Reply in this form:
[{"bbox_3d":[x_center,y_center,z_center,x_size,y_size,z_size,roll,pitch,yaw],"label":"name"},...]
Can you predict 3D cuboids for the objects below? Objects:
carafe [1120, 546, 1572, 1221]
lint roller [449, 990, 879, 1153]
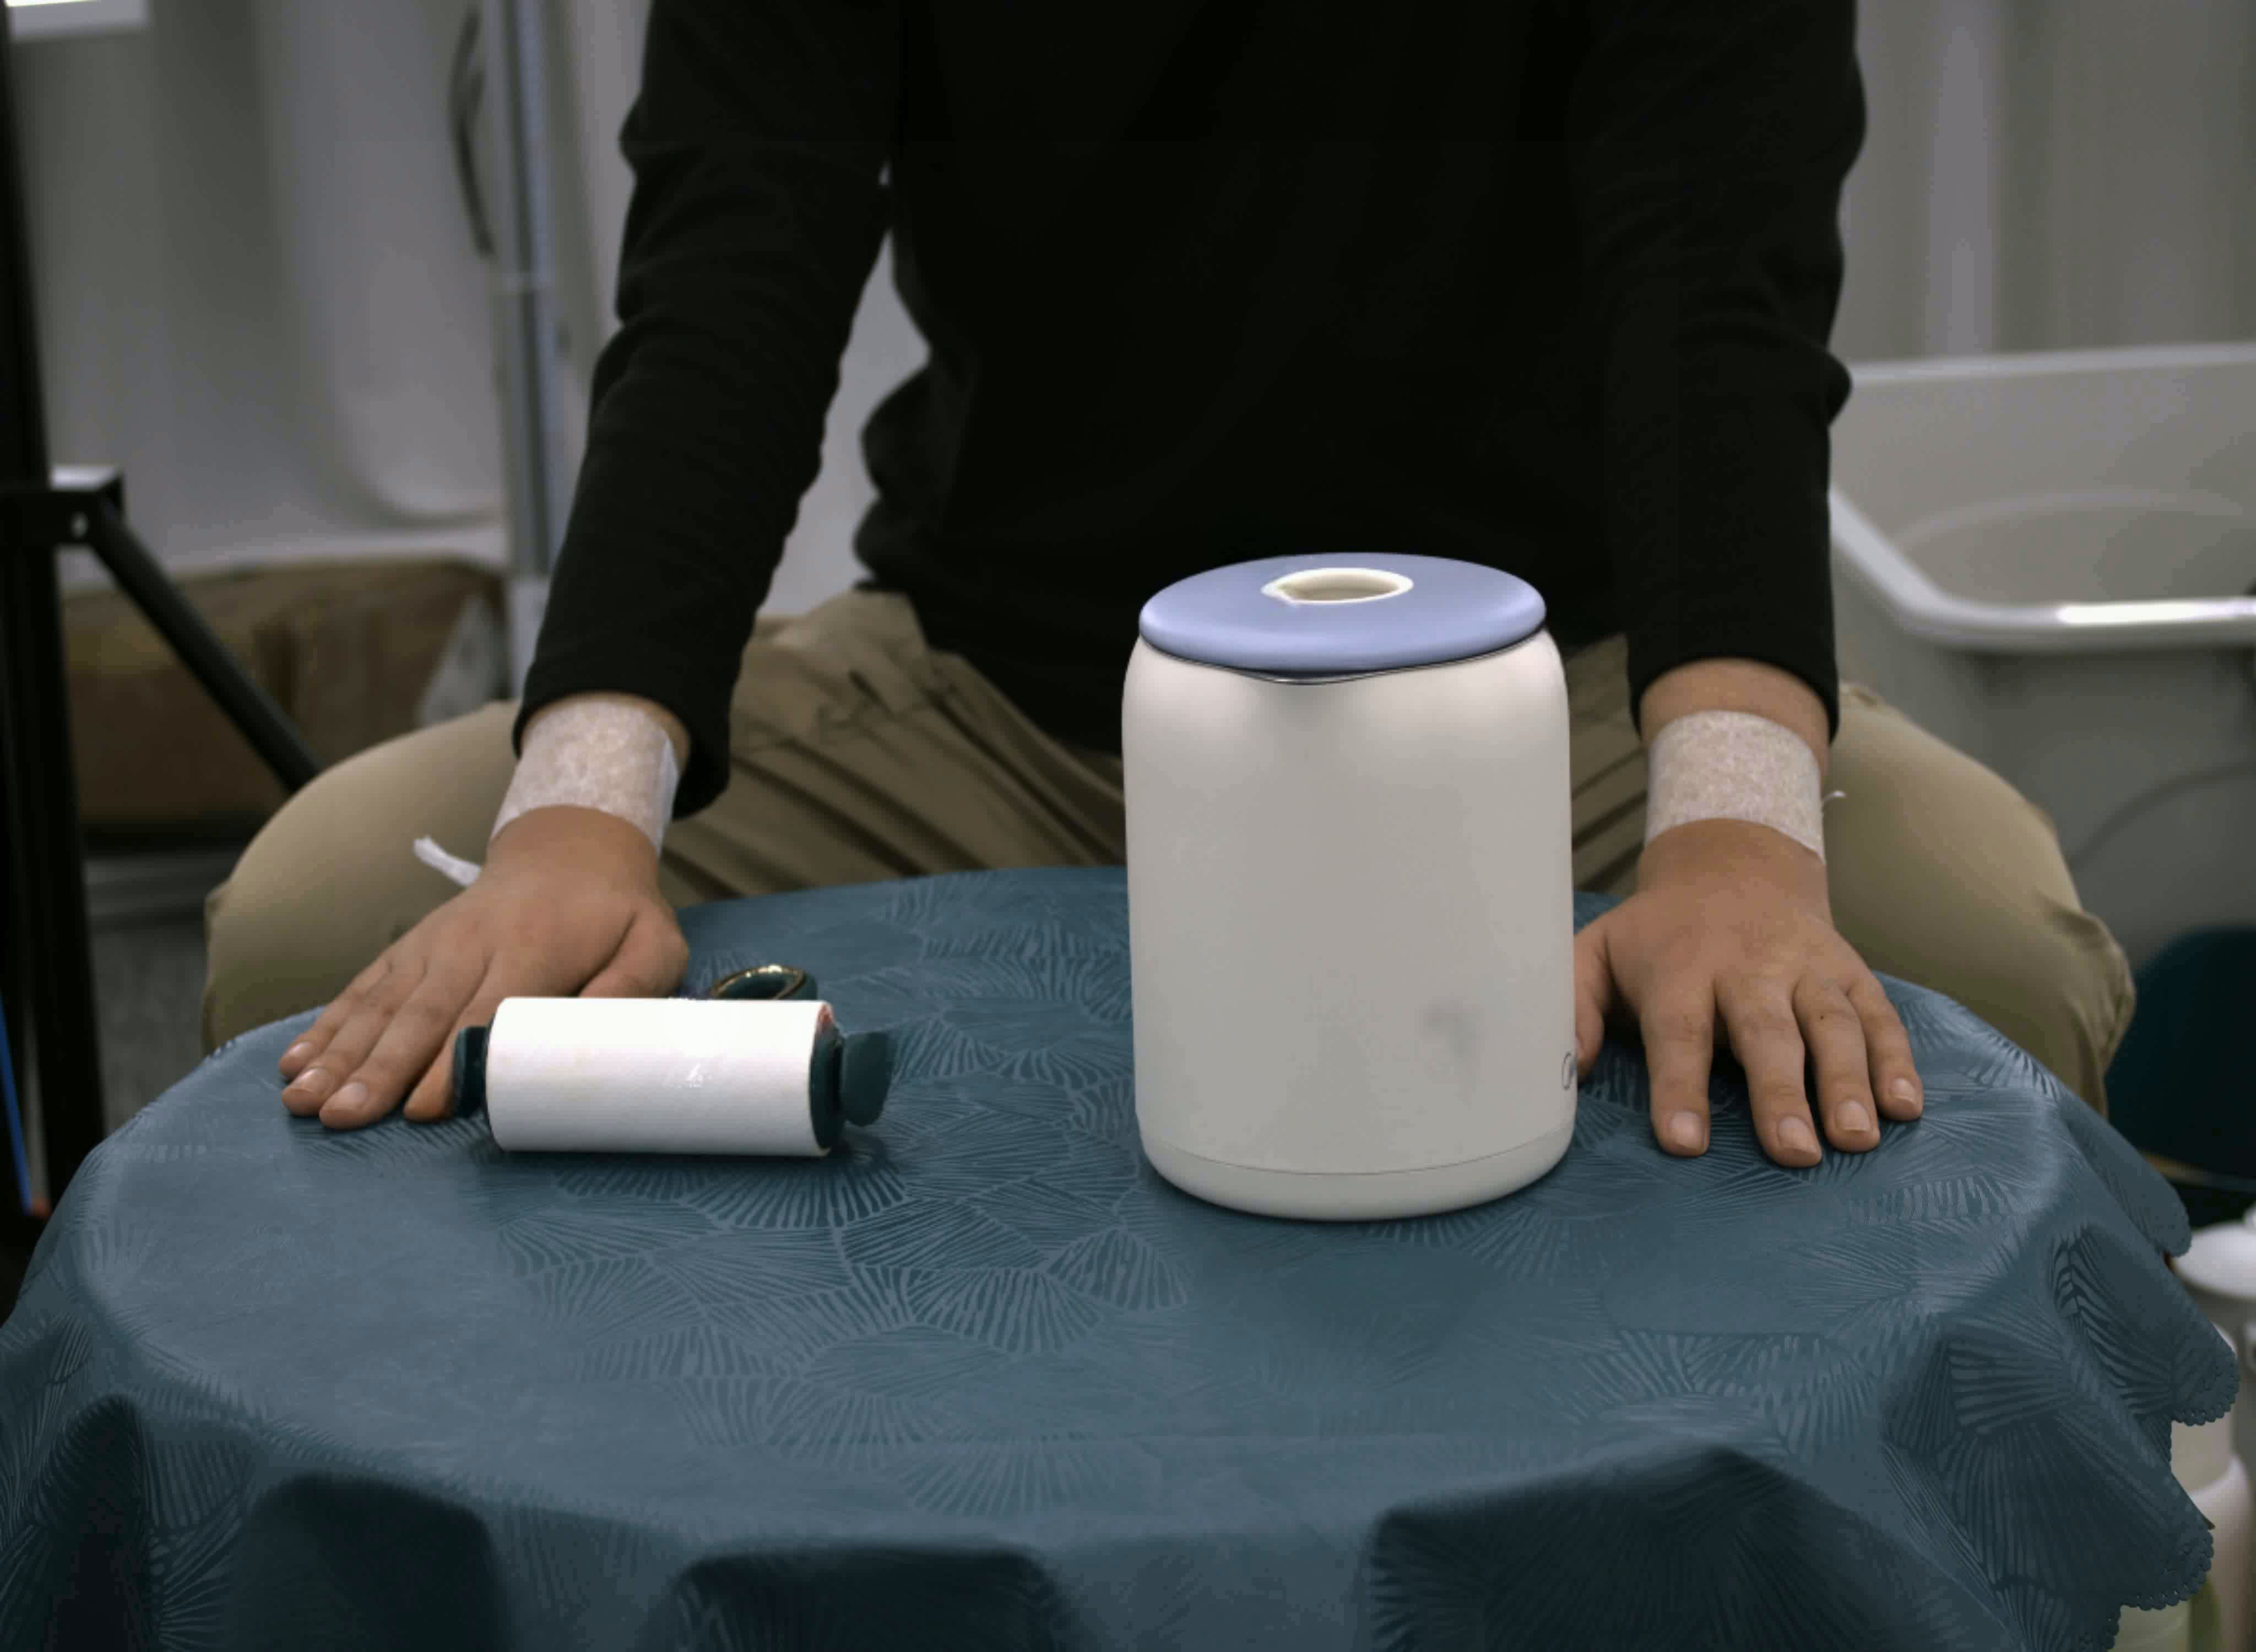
[{"bbox_3d":[0.069,0.010,1.579,0.133,0.182,0.190,1,14,11],"label":"carafe"},{"bbox_3d":[-0.130,0.059,1.674,0.135,0.048,0.179,0,13,10],"label":"lint roller"}]
